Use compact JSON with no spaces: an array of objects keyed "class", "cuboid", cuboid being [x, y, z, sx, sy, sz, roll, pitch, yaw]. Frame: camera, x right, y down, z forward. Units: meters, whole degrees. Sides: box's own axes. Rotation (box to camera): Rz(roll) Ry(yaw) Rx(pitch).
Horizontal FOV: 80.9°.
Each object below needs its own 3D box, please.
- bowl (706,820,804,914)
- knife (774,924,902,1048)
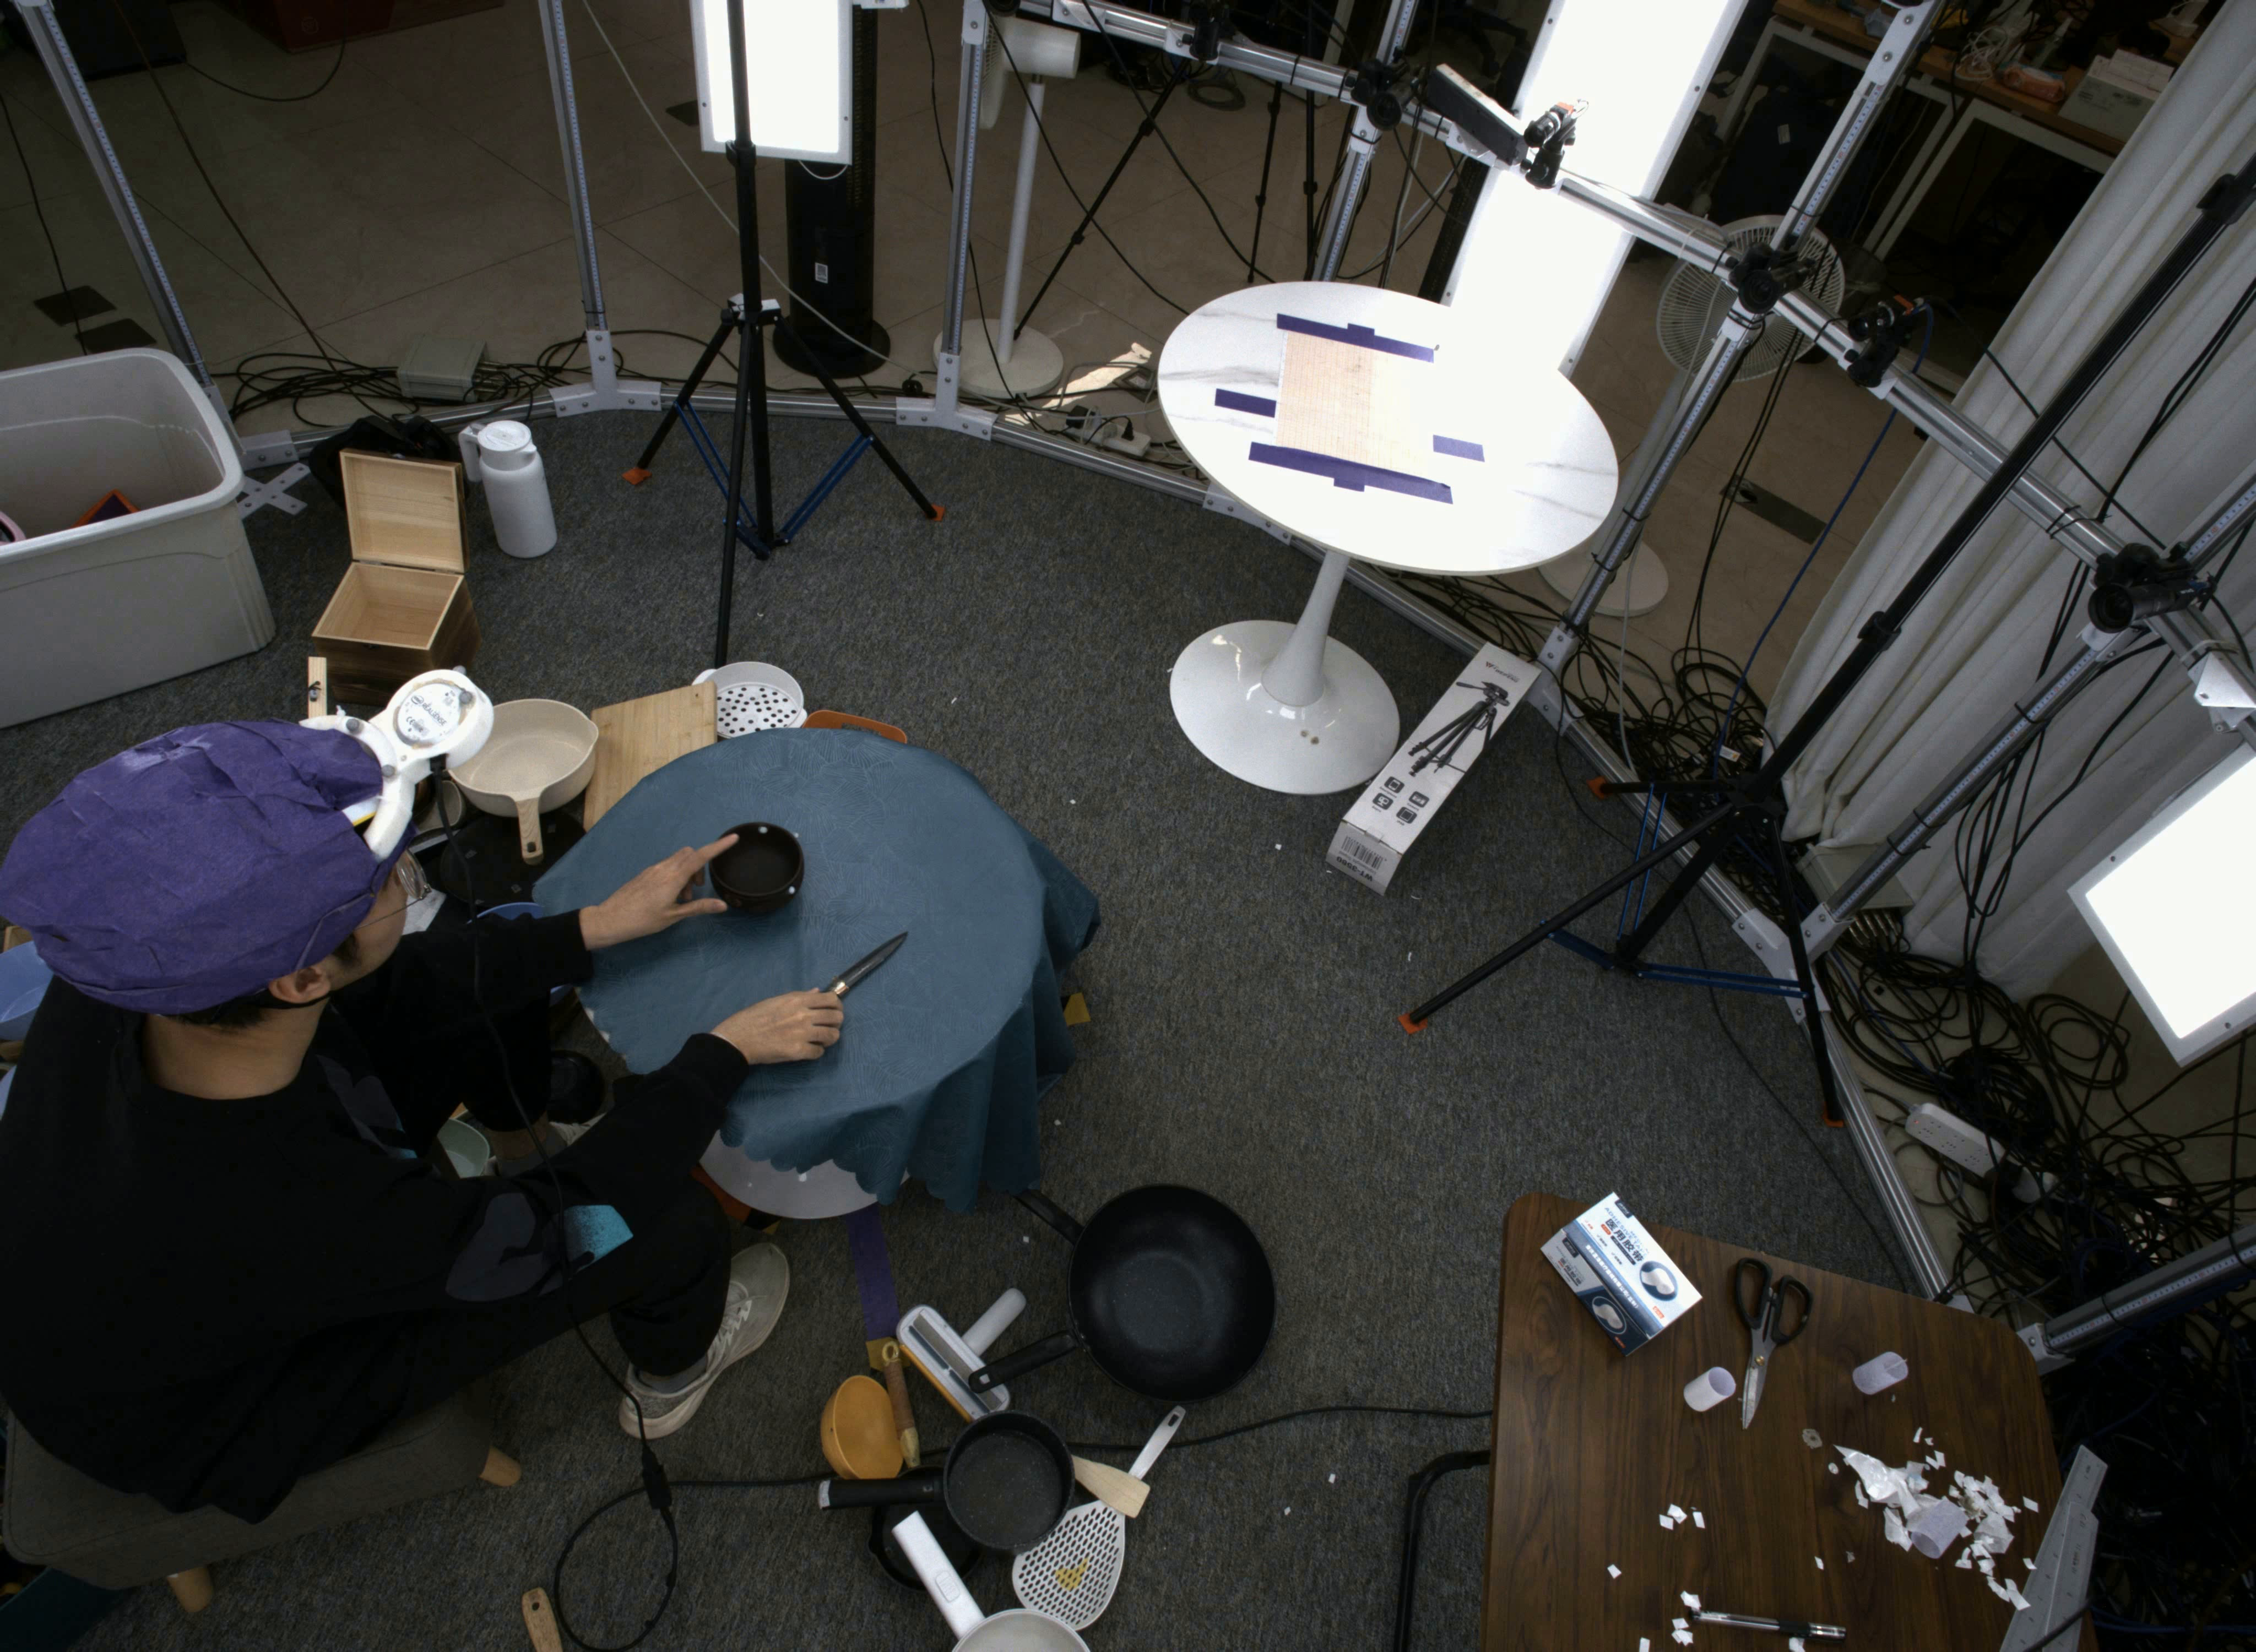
[{"class":"bowl","cuboid":[-0.463,0.058,1.611,0.117,0.071,0.116,6,51,-7]},{"class":"knife","cuboid":[-0.348,0.190,1.584,0.025,0.018,0.225,31,51,19]}]
